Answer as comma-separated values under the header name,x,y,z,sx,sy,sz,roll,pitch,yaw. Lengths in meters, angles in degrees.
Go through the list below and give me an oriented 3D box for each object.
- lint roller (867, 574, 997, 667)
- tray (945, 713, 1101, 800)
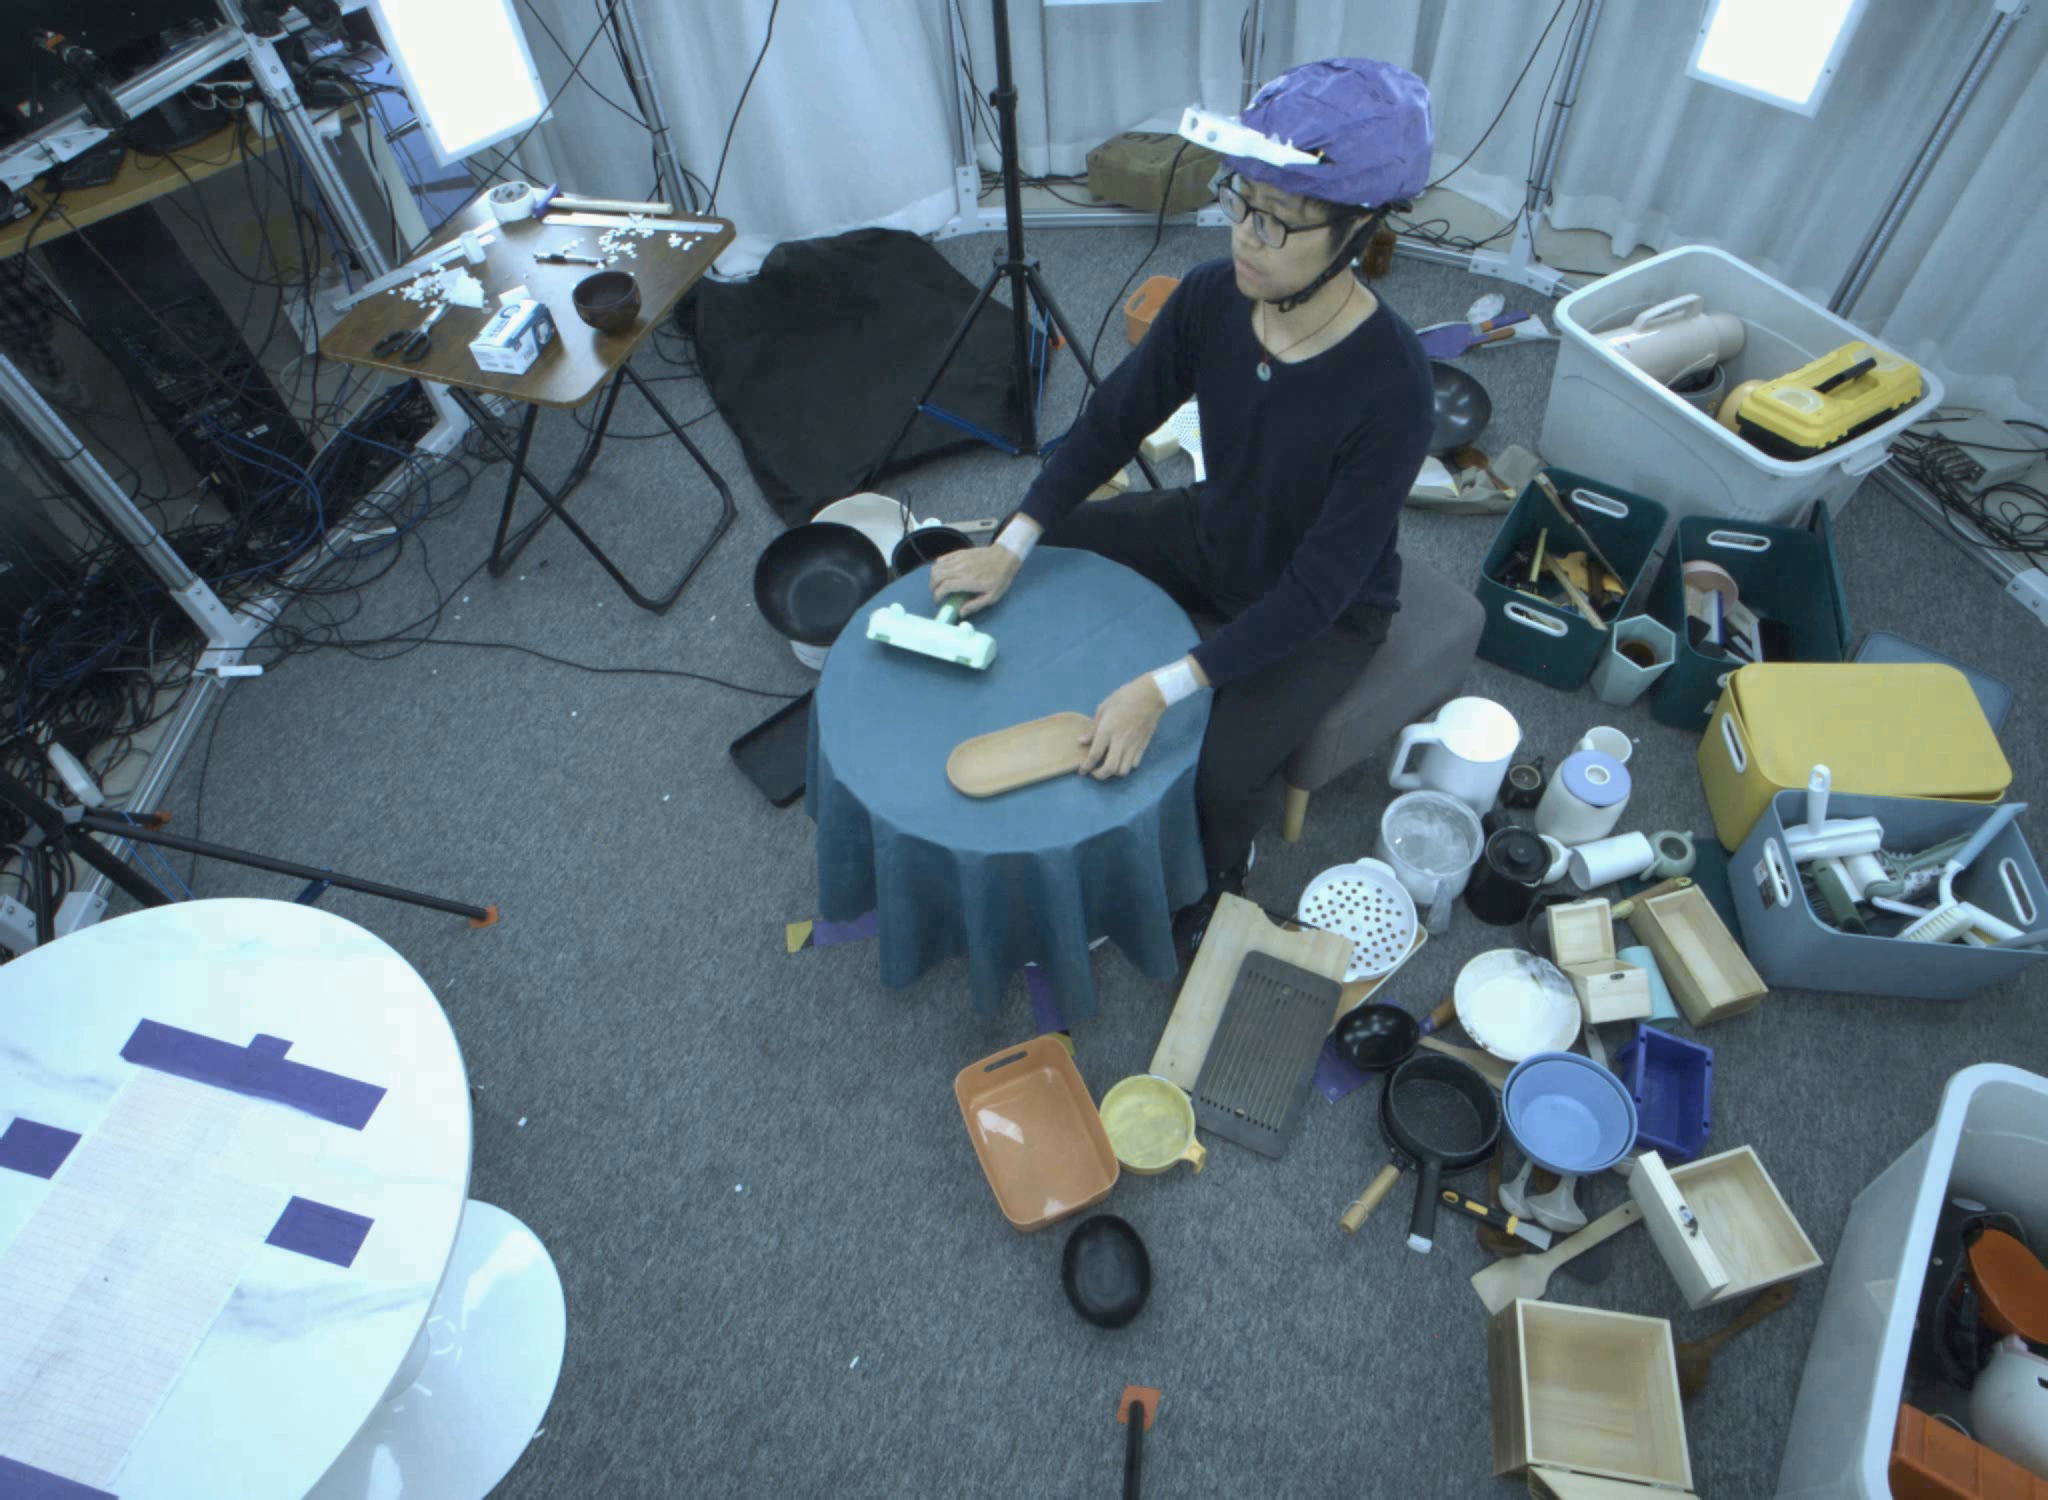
name,x,y,z,sx,sy,sz,roll,pitch,yaw
lint roller,-0.121,-0.221,1.895,0.196,0.083,0.183,16,62,13
tray,-0.001,0.009,1.771,0.232,0.020,0.100,-18,55,-8
